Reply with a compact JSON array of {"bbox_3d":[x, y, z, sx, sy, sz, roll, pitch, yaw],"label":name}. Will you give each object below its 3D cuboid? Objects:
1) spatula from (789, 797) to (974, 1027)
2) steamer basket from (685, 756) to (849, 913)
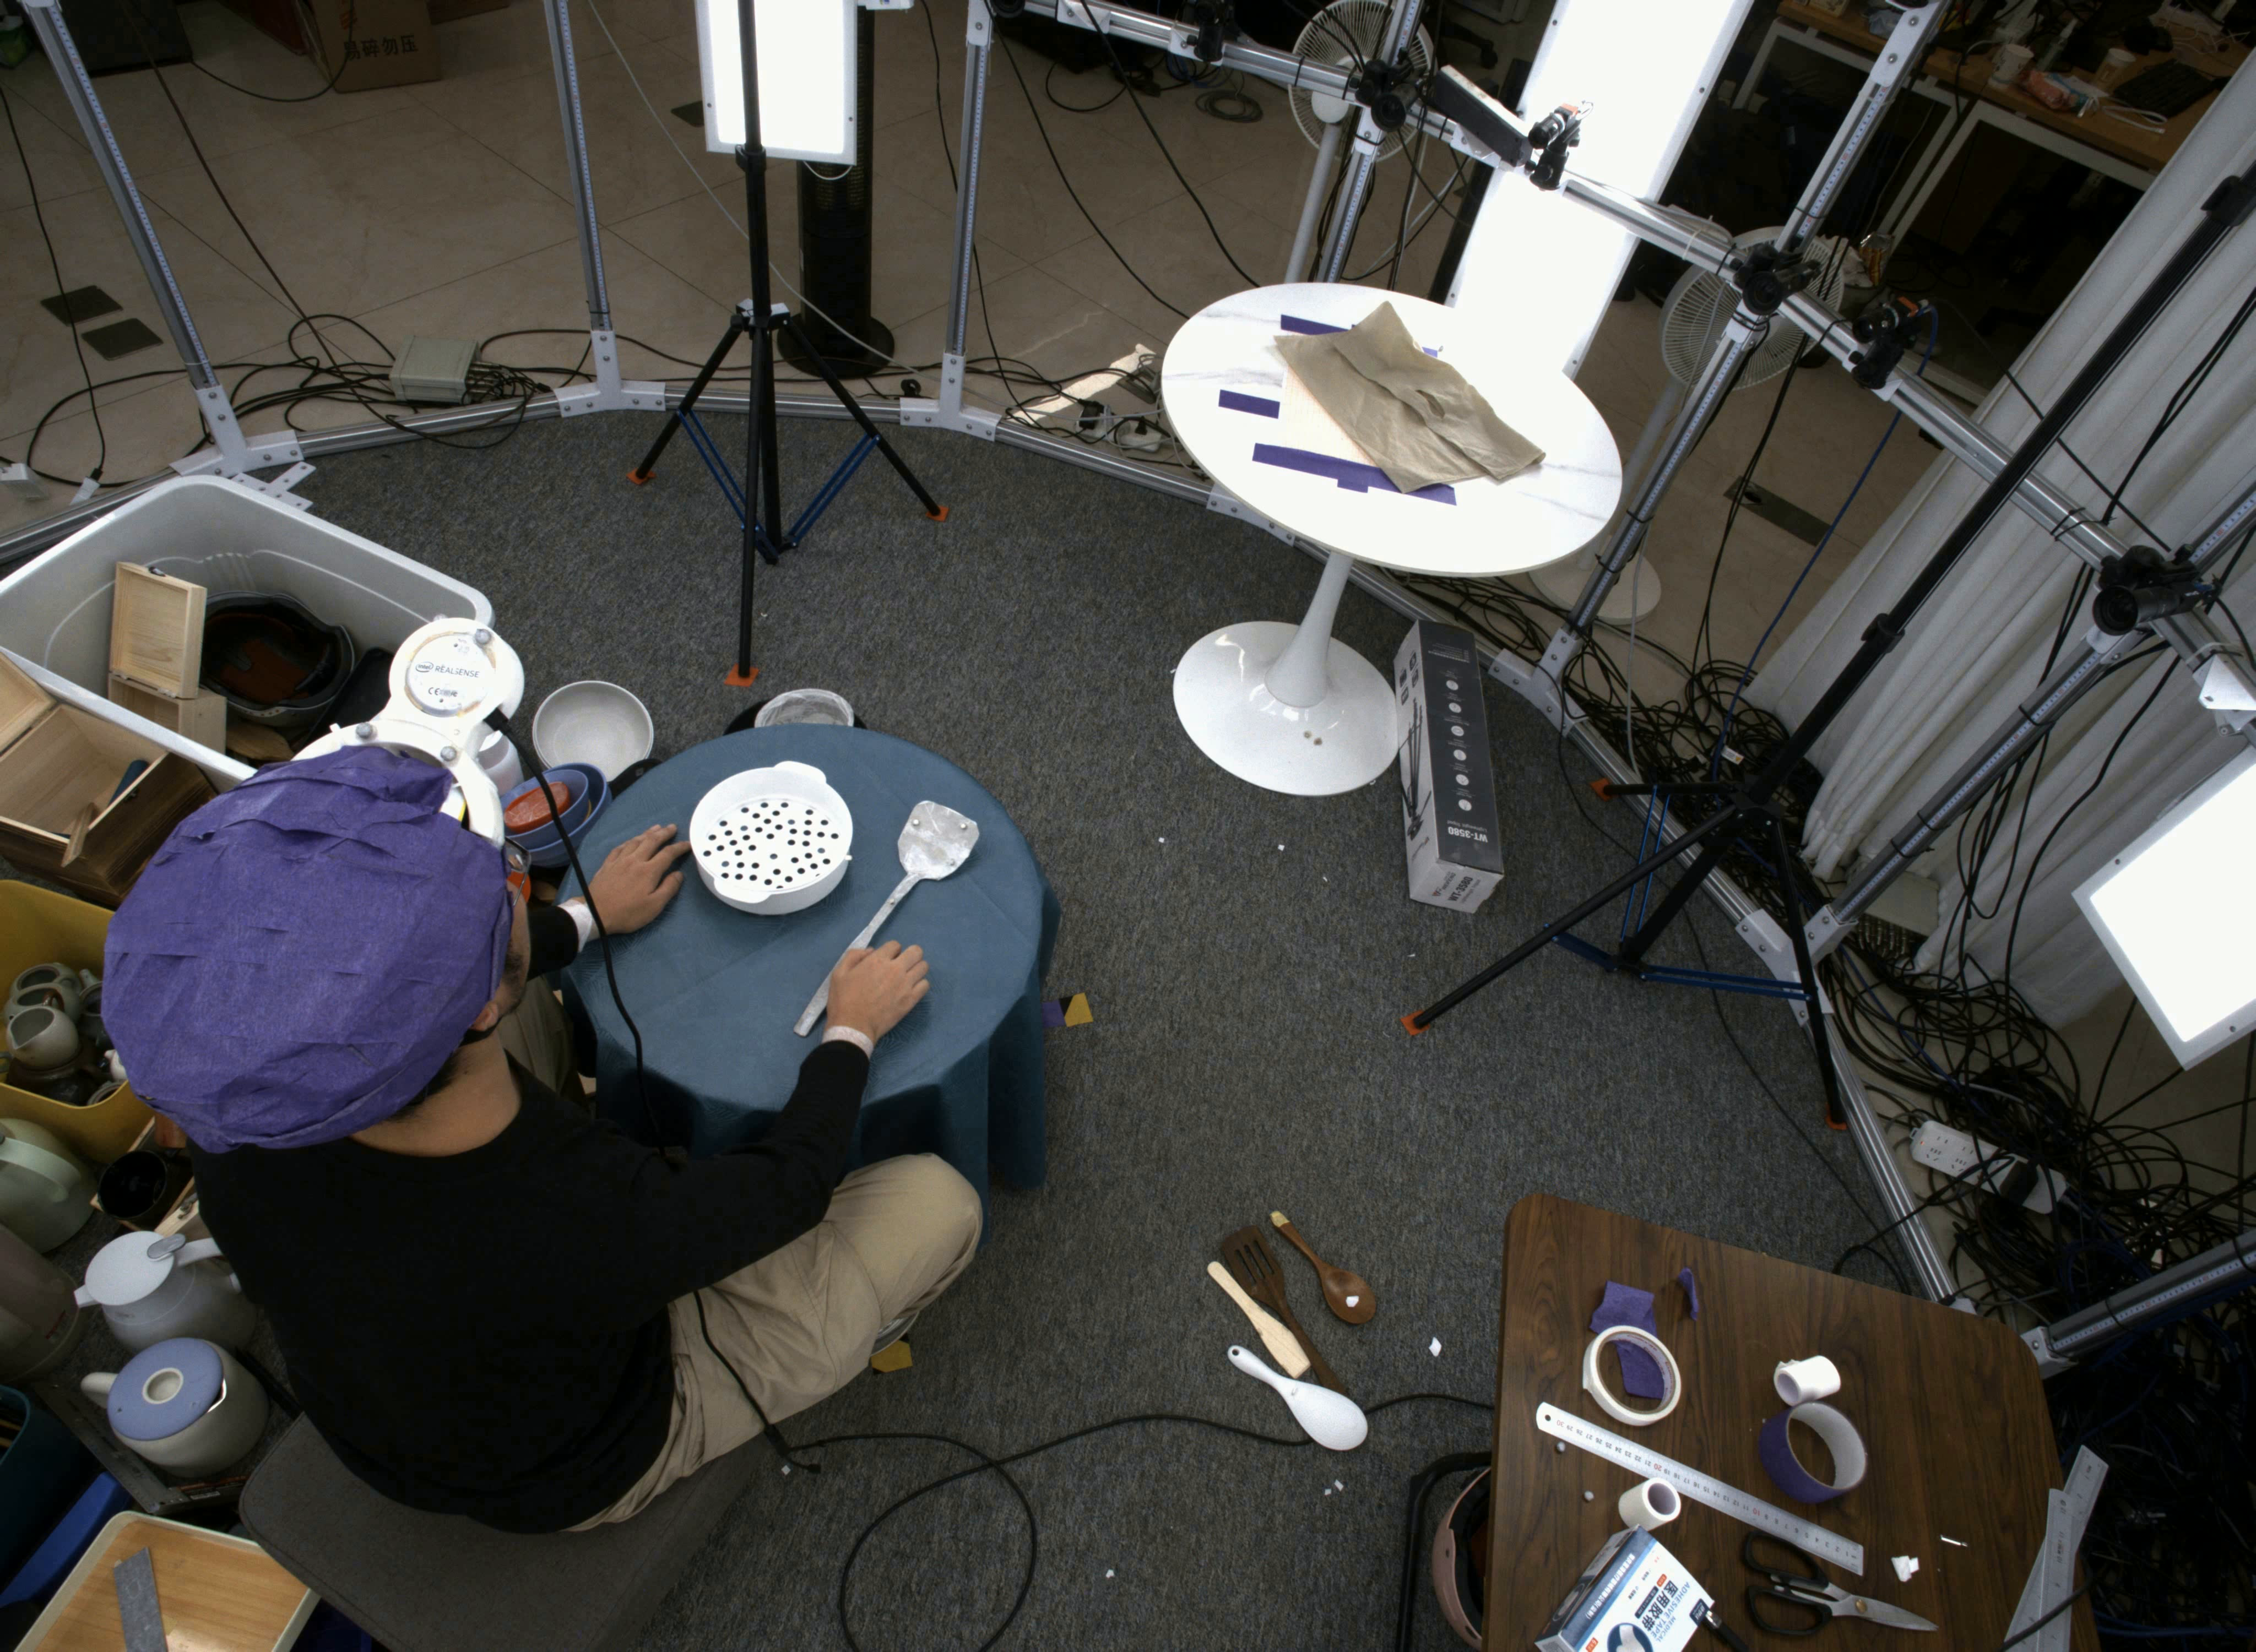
[{"bbox_3d":[-0.318,0.107,1.642,0.097,0.045,0.363,28,52,4],"label":"spatula"},{"bbox_3d":[-0.458,0.016,1.653,0.200,0.070,0.228,16,52,-1],"label":"steamer basket"}]
